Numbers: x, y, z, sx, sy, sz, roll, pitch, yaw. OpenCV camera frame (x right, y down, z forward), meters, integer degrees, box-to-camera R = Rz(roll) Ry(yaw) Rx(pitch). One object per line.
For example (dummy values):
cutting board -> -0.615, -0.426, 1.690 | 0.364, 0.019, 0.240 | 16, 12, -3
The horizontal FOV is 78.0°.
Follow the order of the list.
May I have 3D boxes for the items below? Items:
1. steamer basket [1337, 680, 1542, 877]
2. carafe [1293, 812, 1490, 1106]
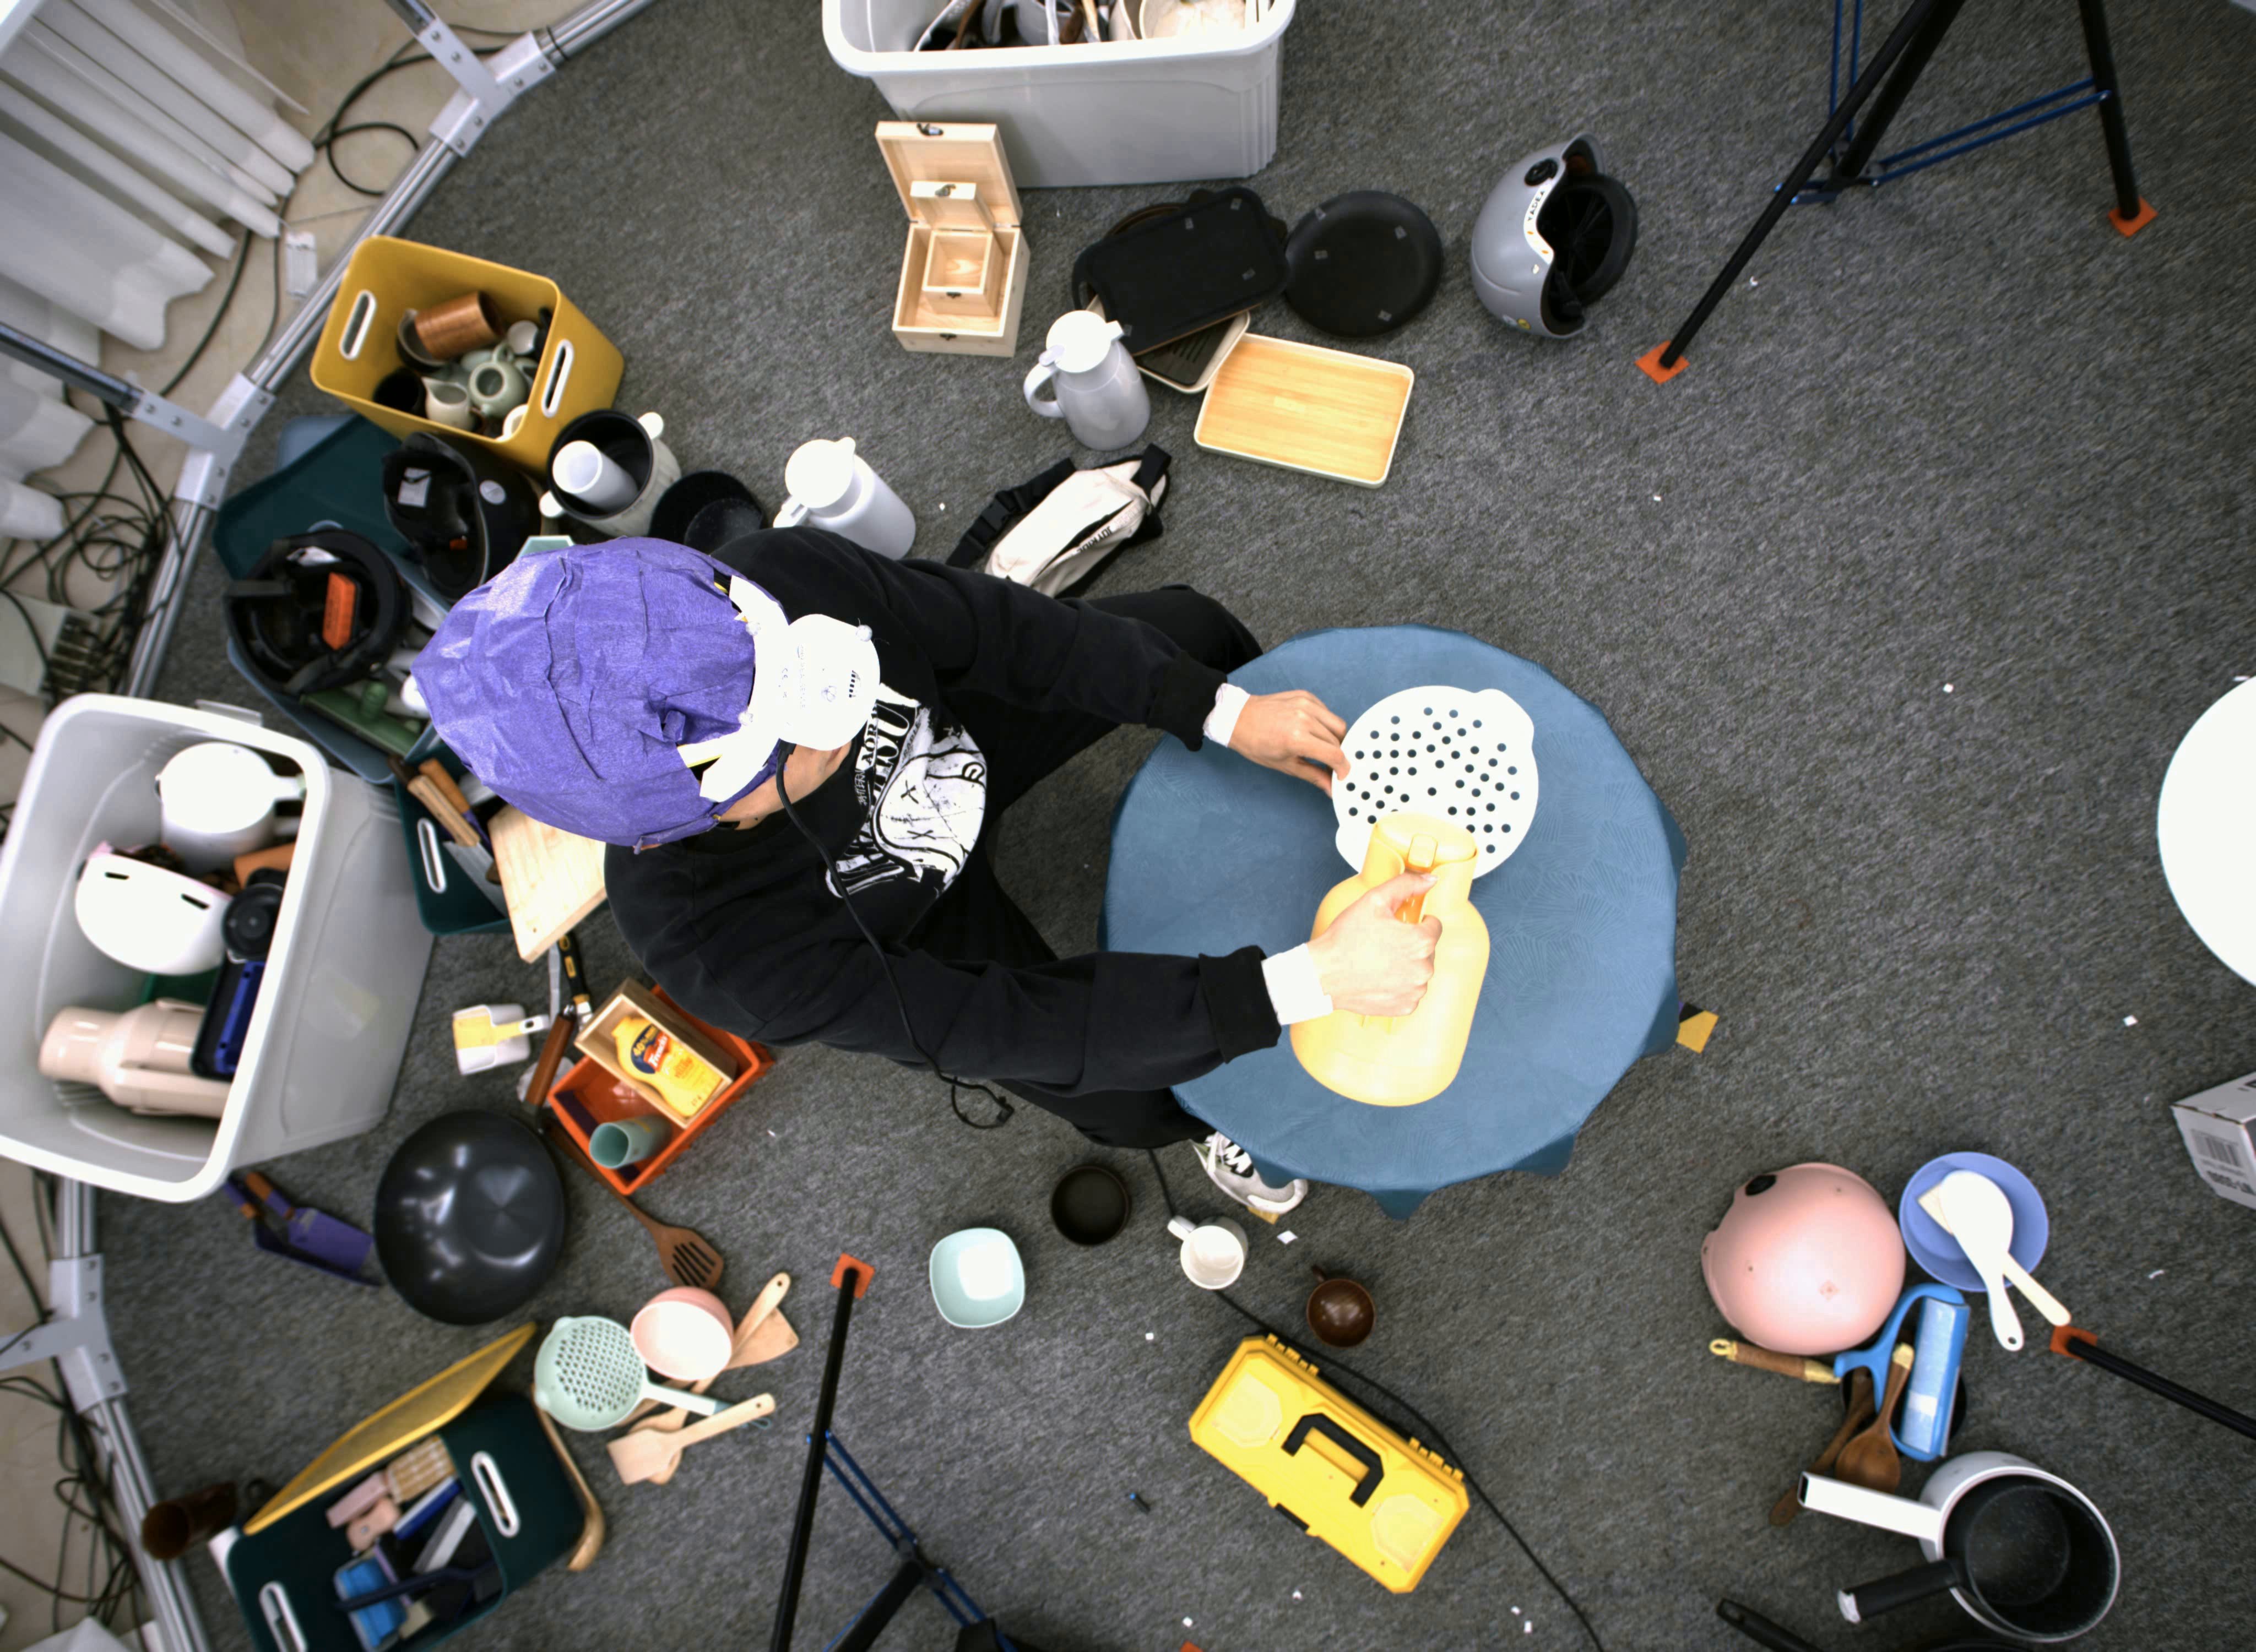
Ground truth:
steamer basket -> 0.313, -0.044, 1.391 | 0.231, 0.069, 0.201 | -45, 80, 4
carafe -> 0.241, 0.123, 1.256 | 0.163, 0.198, 0.266 | 14, 116, 15
